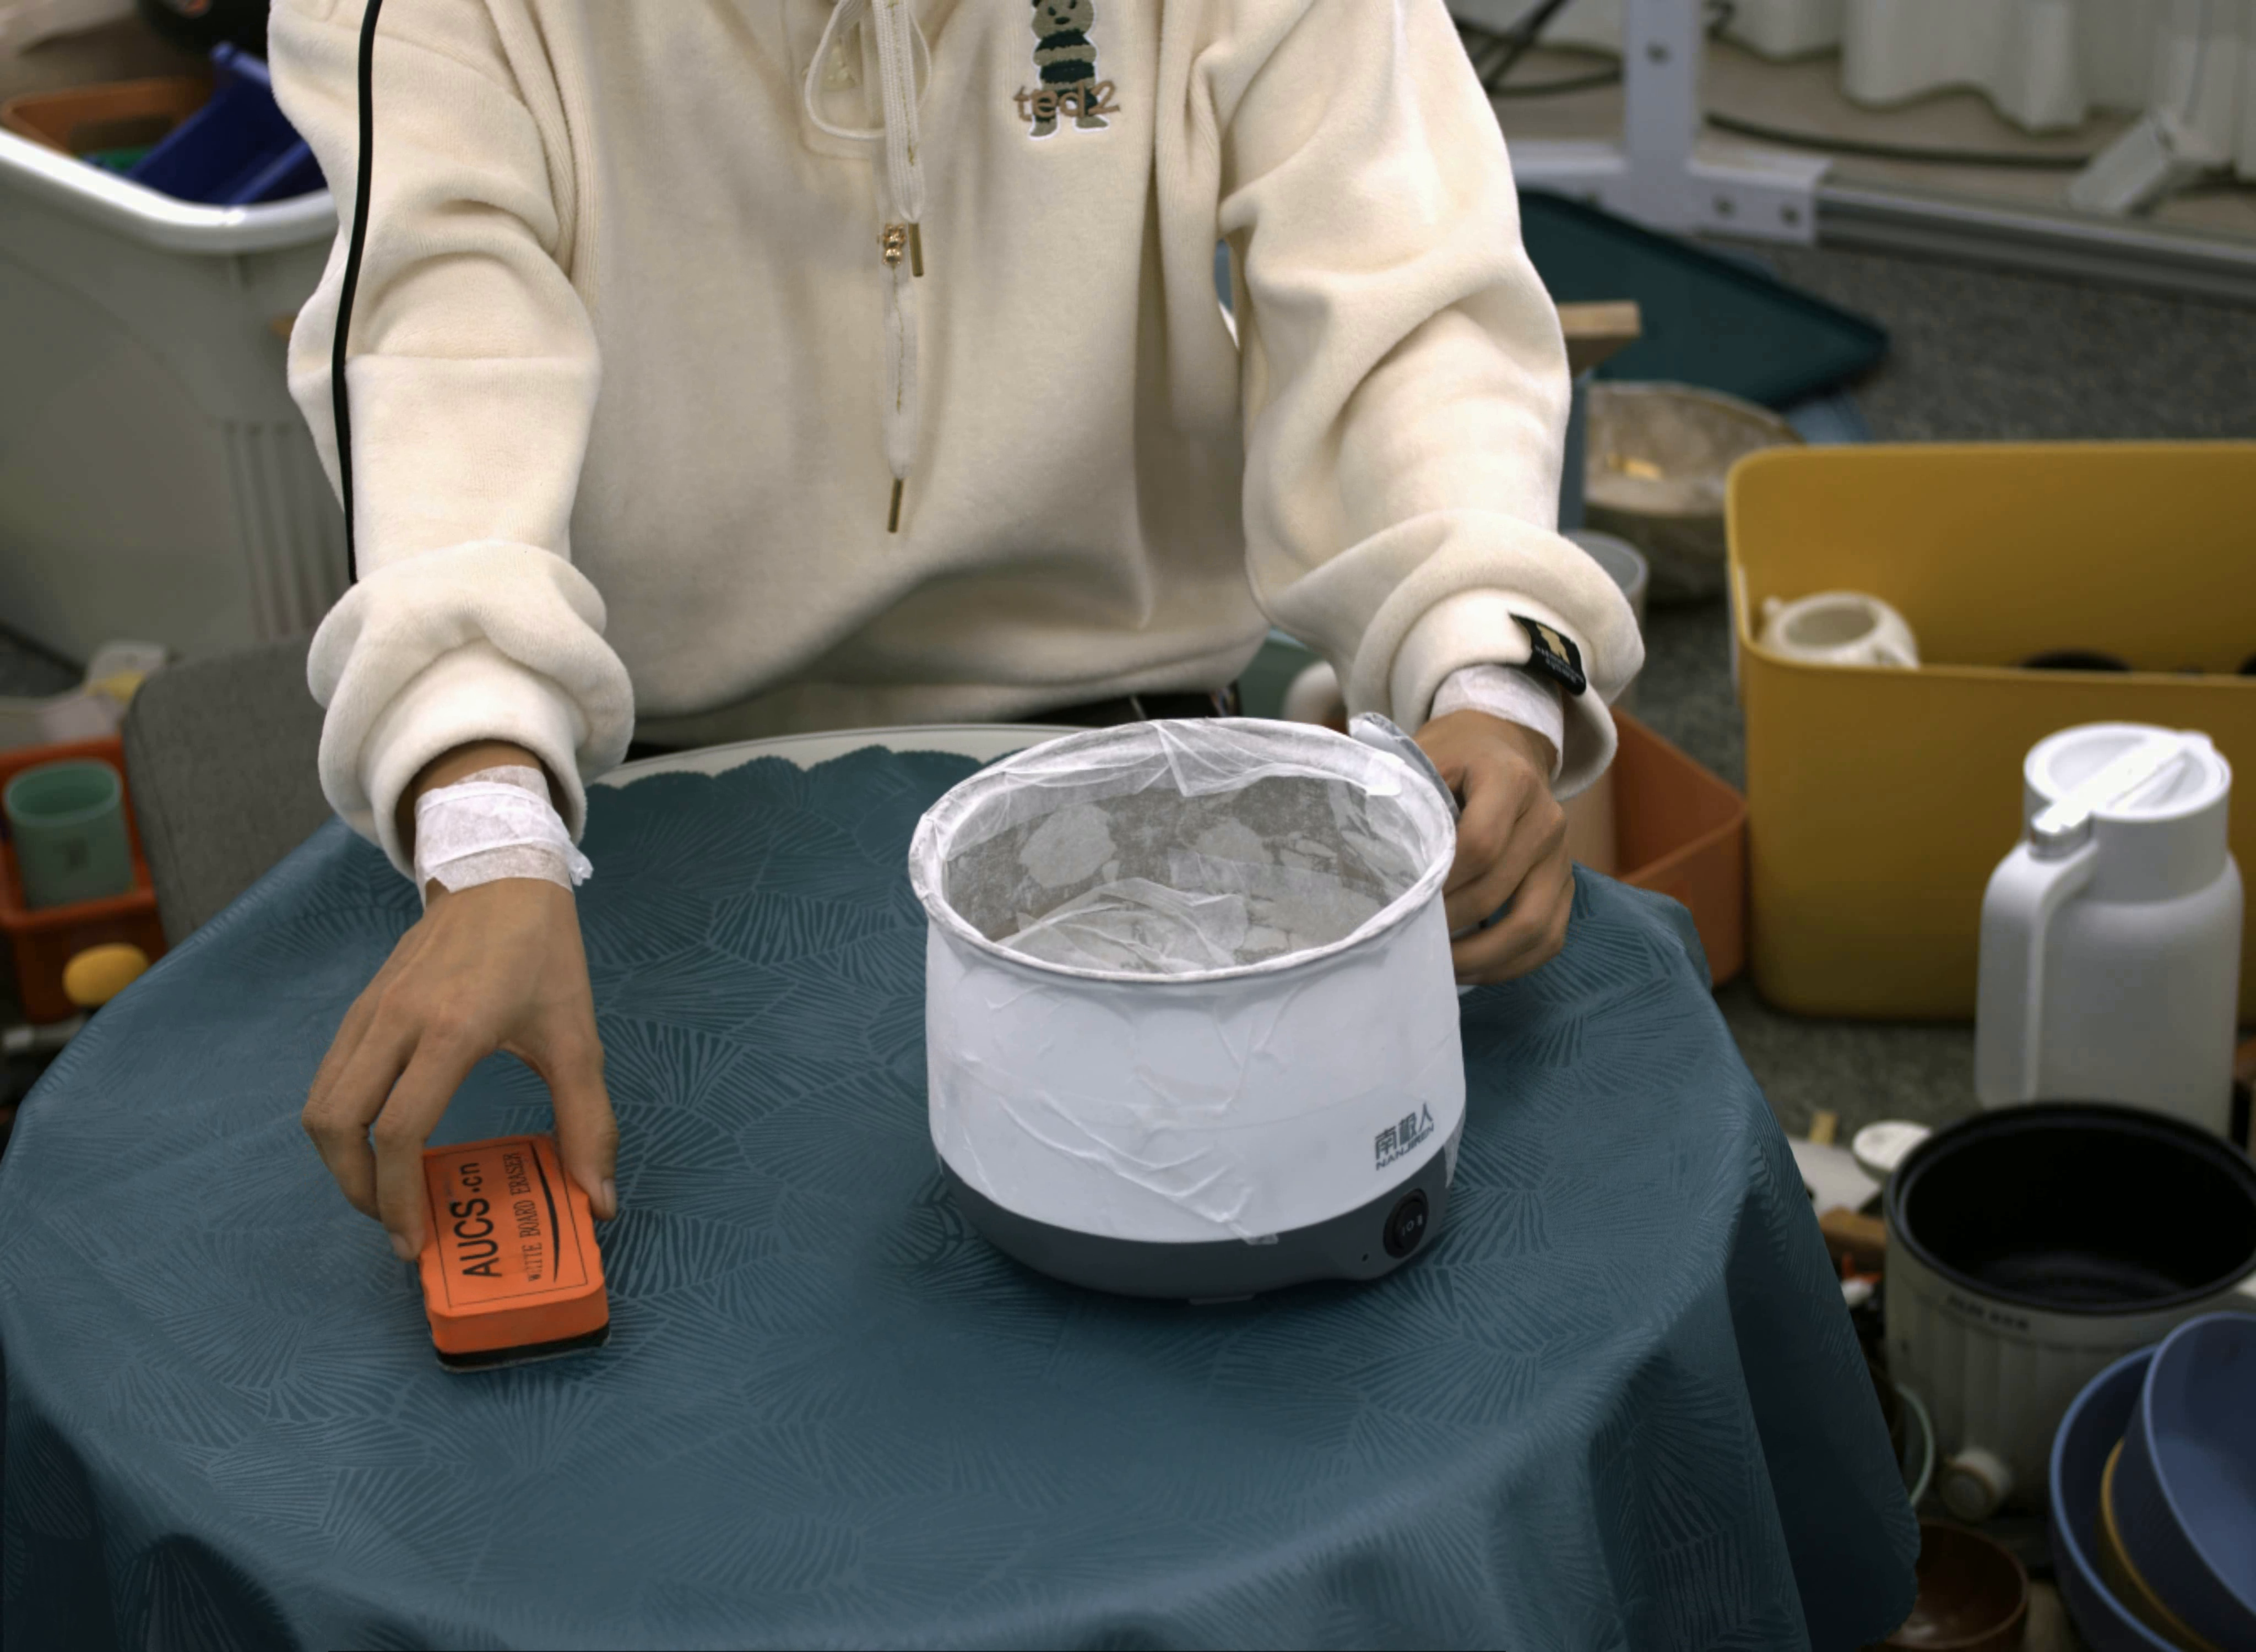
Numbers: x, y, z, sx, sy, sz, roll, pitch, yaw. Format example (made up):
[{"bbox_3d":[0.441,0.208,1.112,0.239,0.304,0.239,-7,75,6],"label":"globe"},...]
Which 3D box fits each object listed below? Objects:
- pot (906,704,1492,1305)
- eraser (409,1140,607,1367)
[{"bbox_3d":[0.037,0.048,1.847,0.178,0.135,0.237,19,36,34],"label":"pot"},{"bbox_3d":[-0.202,0.139,1.824,0.059,0.022,0.109,-2,26,-11],"label":"eraser"}]
